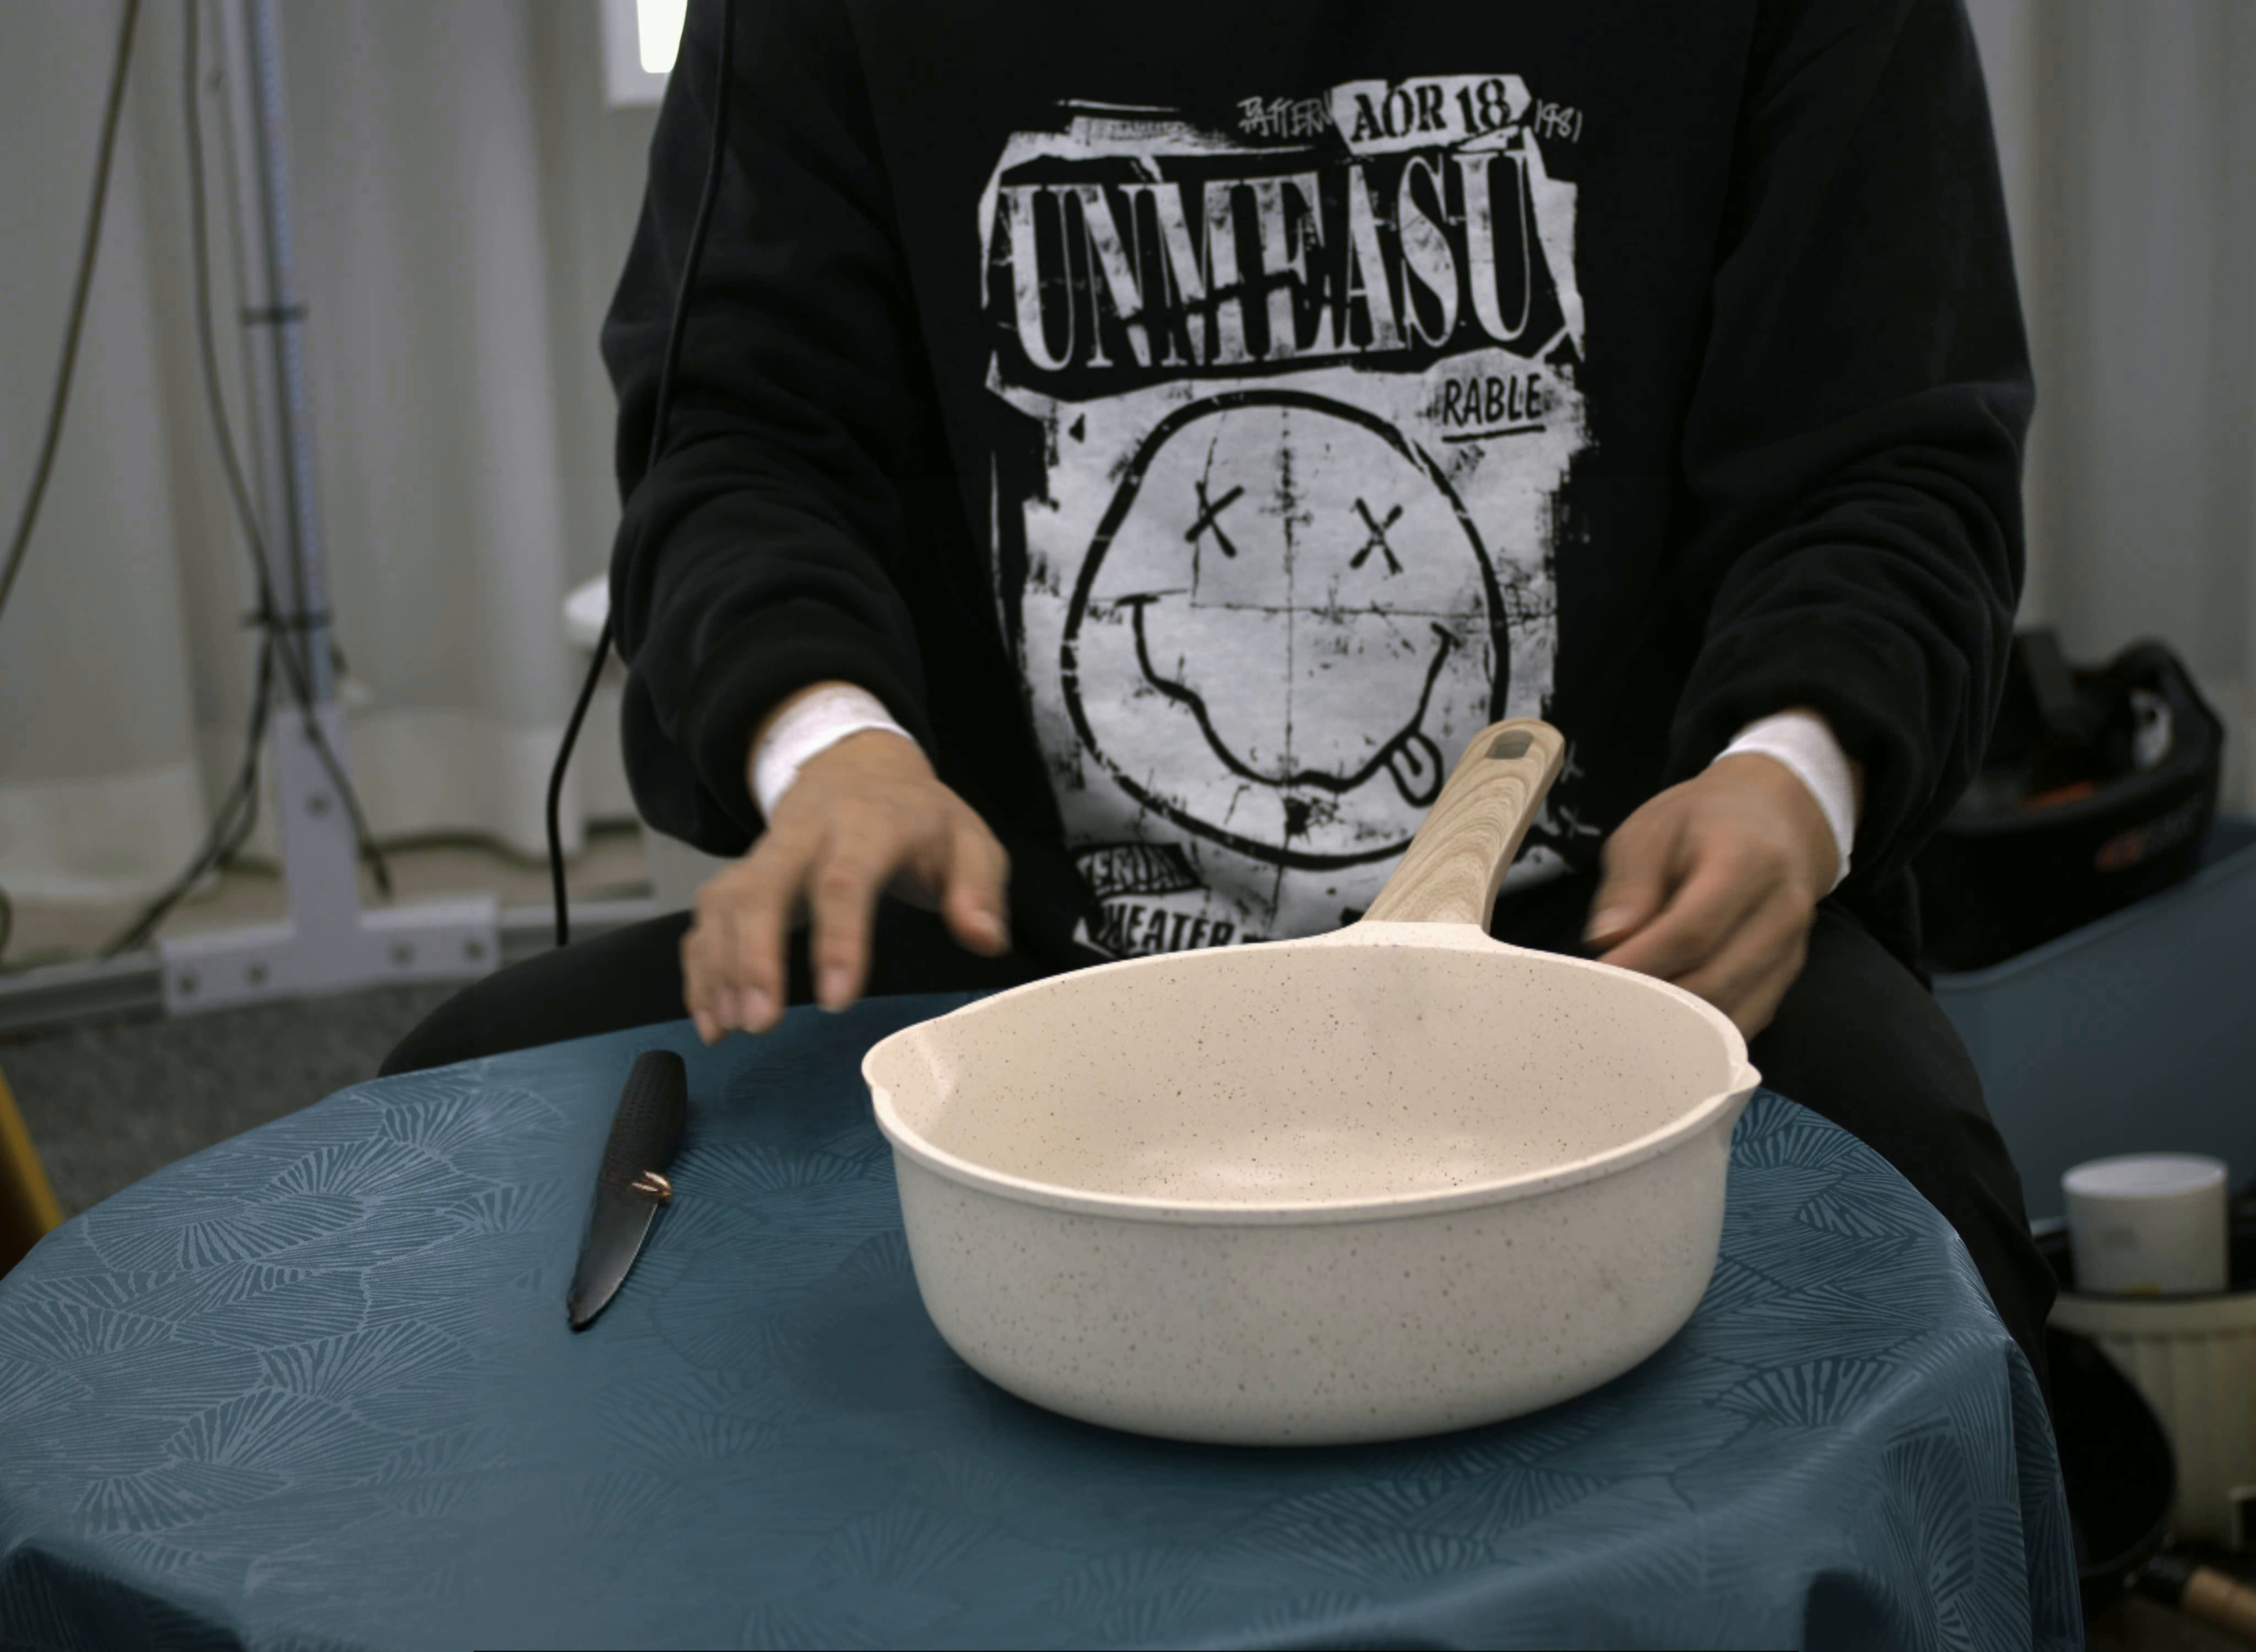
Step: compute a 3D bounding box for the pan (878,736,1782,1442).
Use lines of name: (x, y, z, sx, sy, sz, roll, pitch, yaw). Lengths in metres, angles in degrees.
pan: (0.081, 0.075, 1.657, 0.263, 0.101, 0.437, 0, 15, 15)

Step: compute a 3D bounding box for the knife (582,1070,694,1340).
knife: (-0.156, 0.118, 1.717, 0.026, 0.017, 0.227, 13, 16, -2)
